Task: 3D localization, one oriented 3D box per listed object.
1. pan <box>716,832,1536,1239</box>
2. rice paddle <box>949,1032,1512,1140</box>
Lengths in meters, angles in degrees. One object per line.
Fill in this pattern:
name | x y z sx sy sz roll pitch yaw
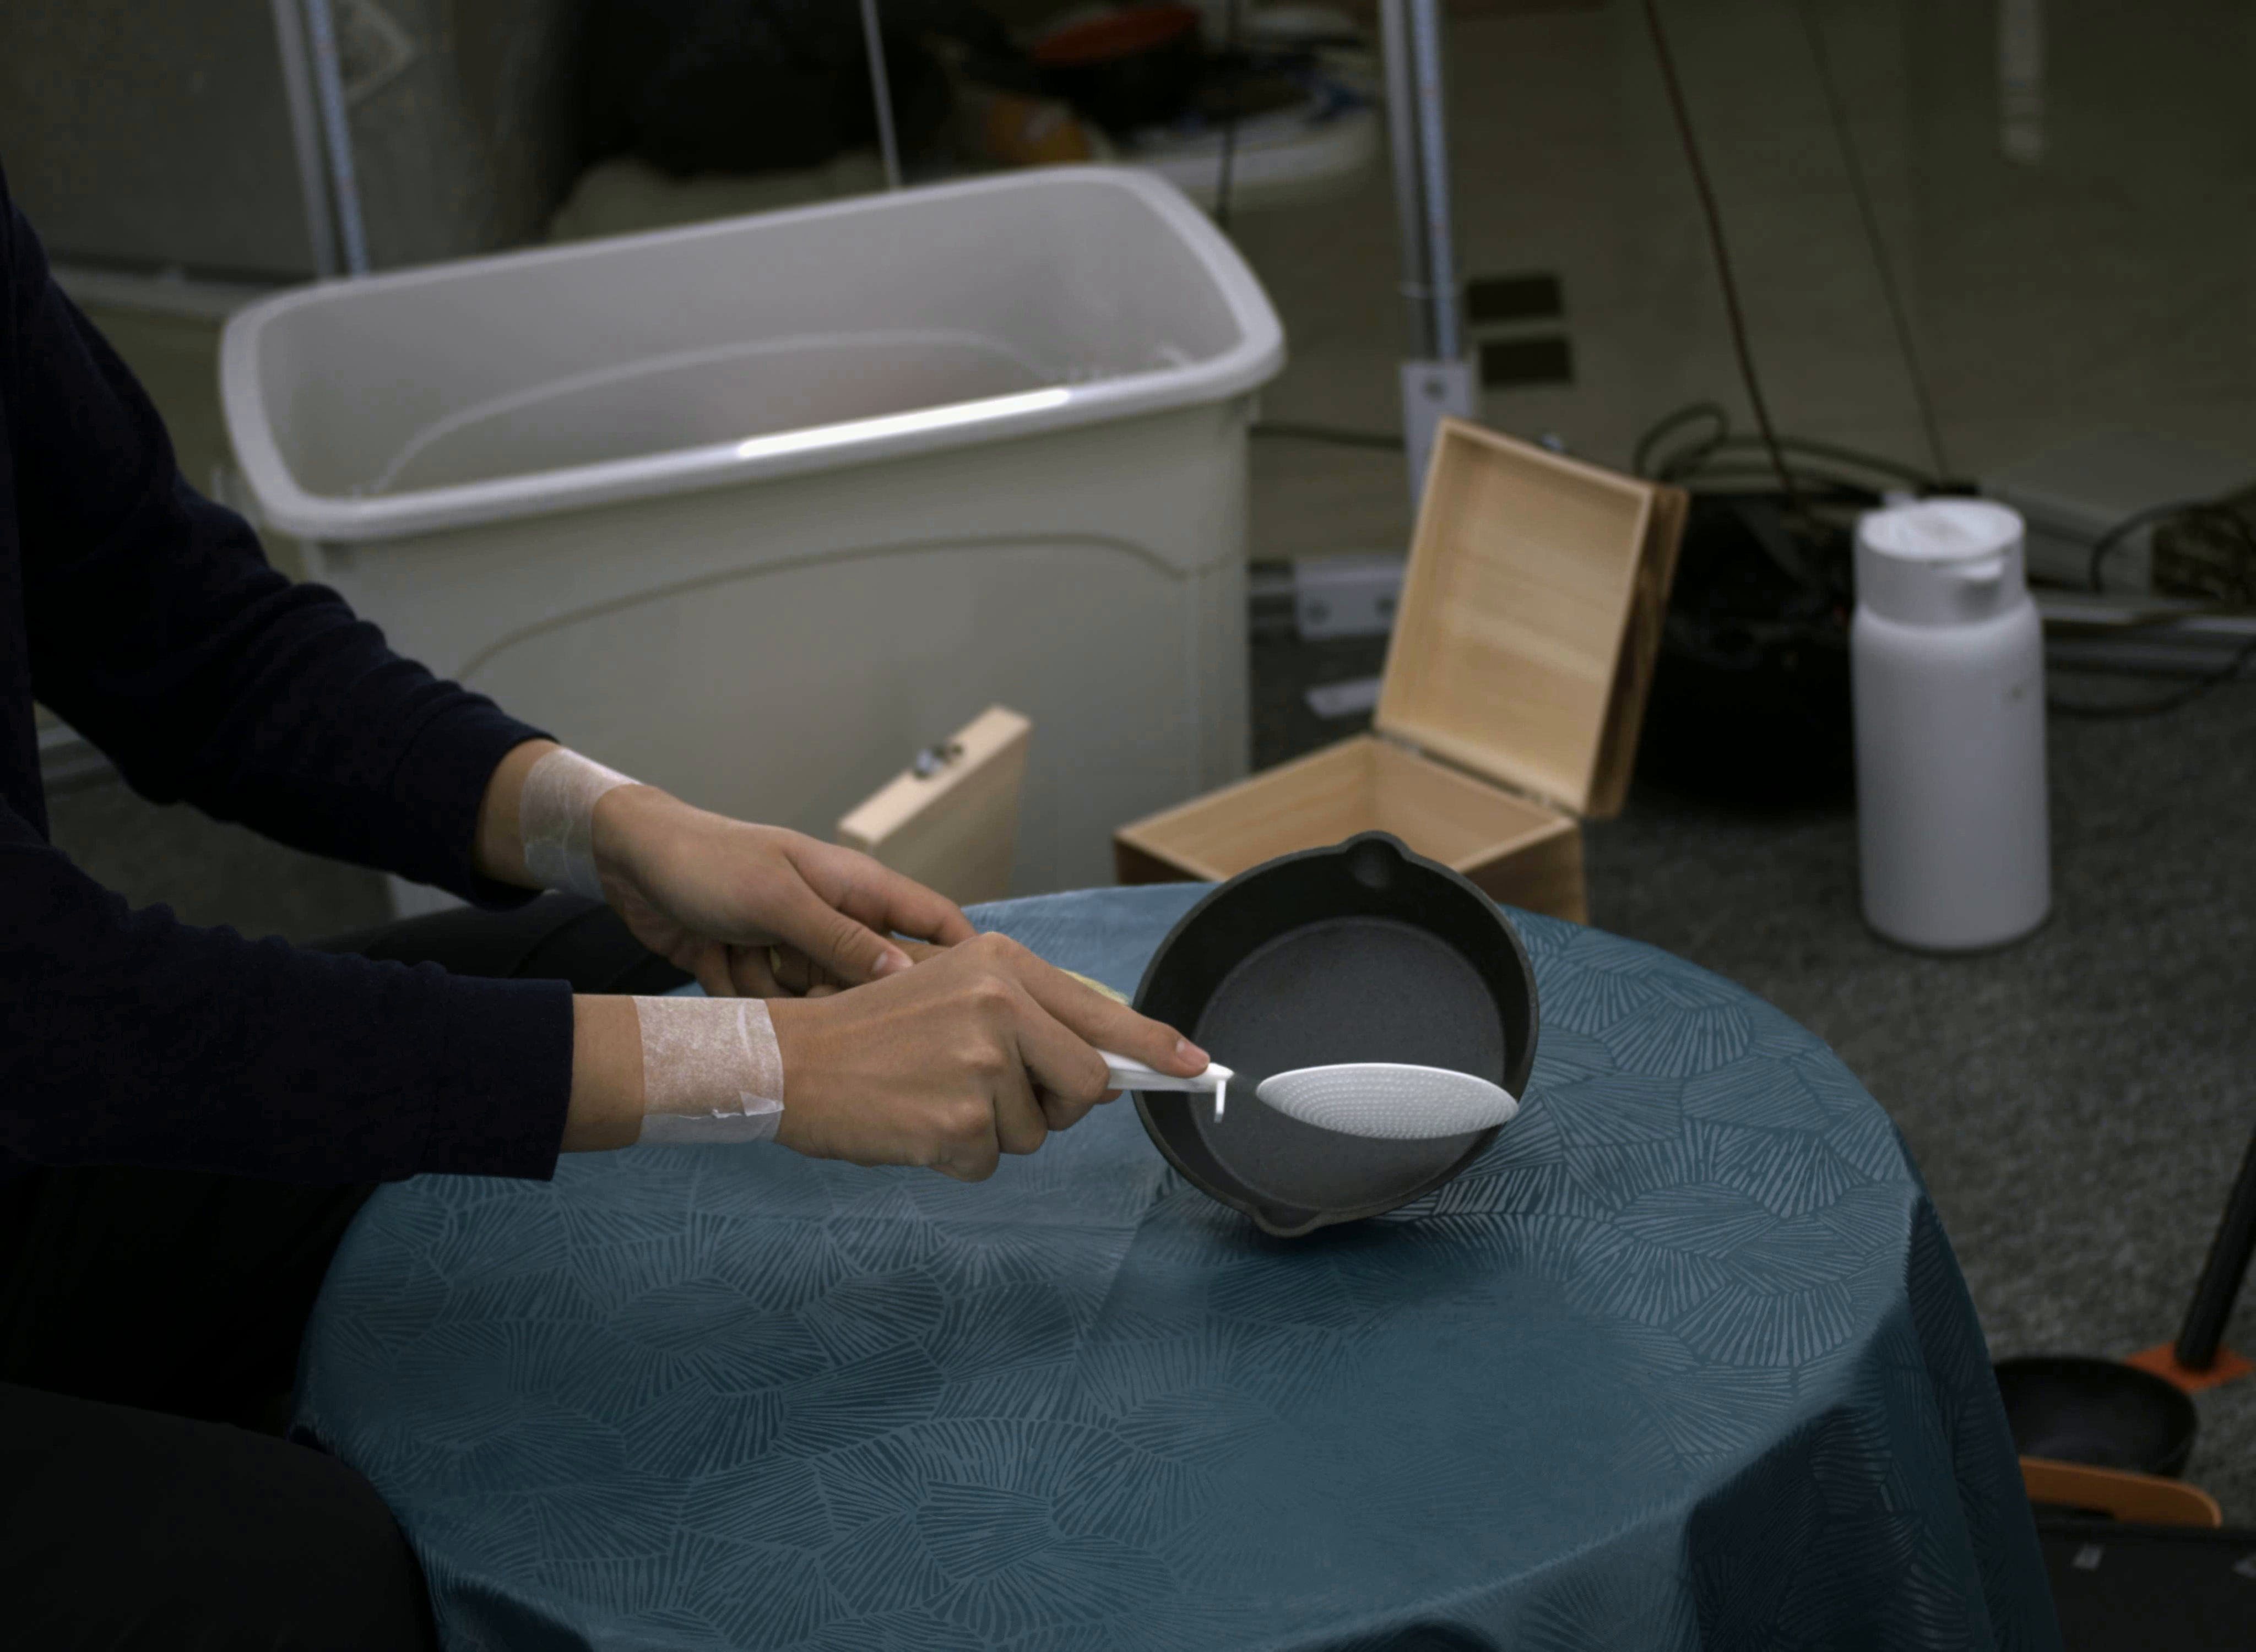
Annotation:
pan | -0.002 0.068 2.148 0.323 0.050 0.167 9 66 17
rice paddle | 0.038 0.095 2.063 0.205 0.069 0.029 3 71 -3
